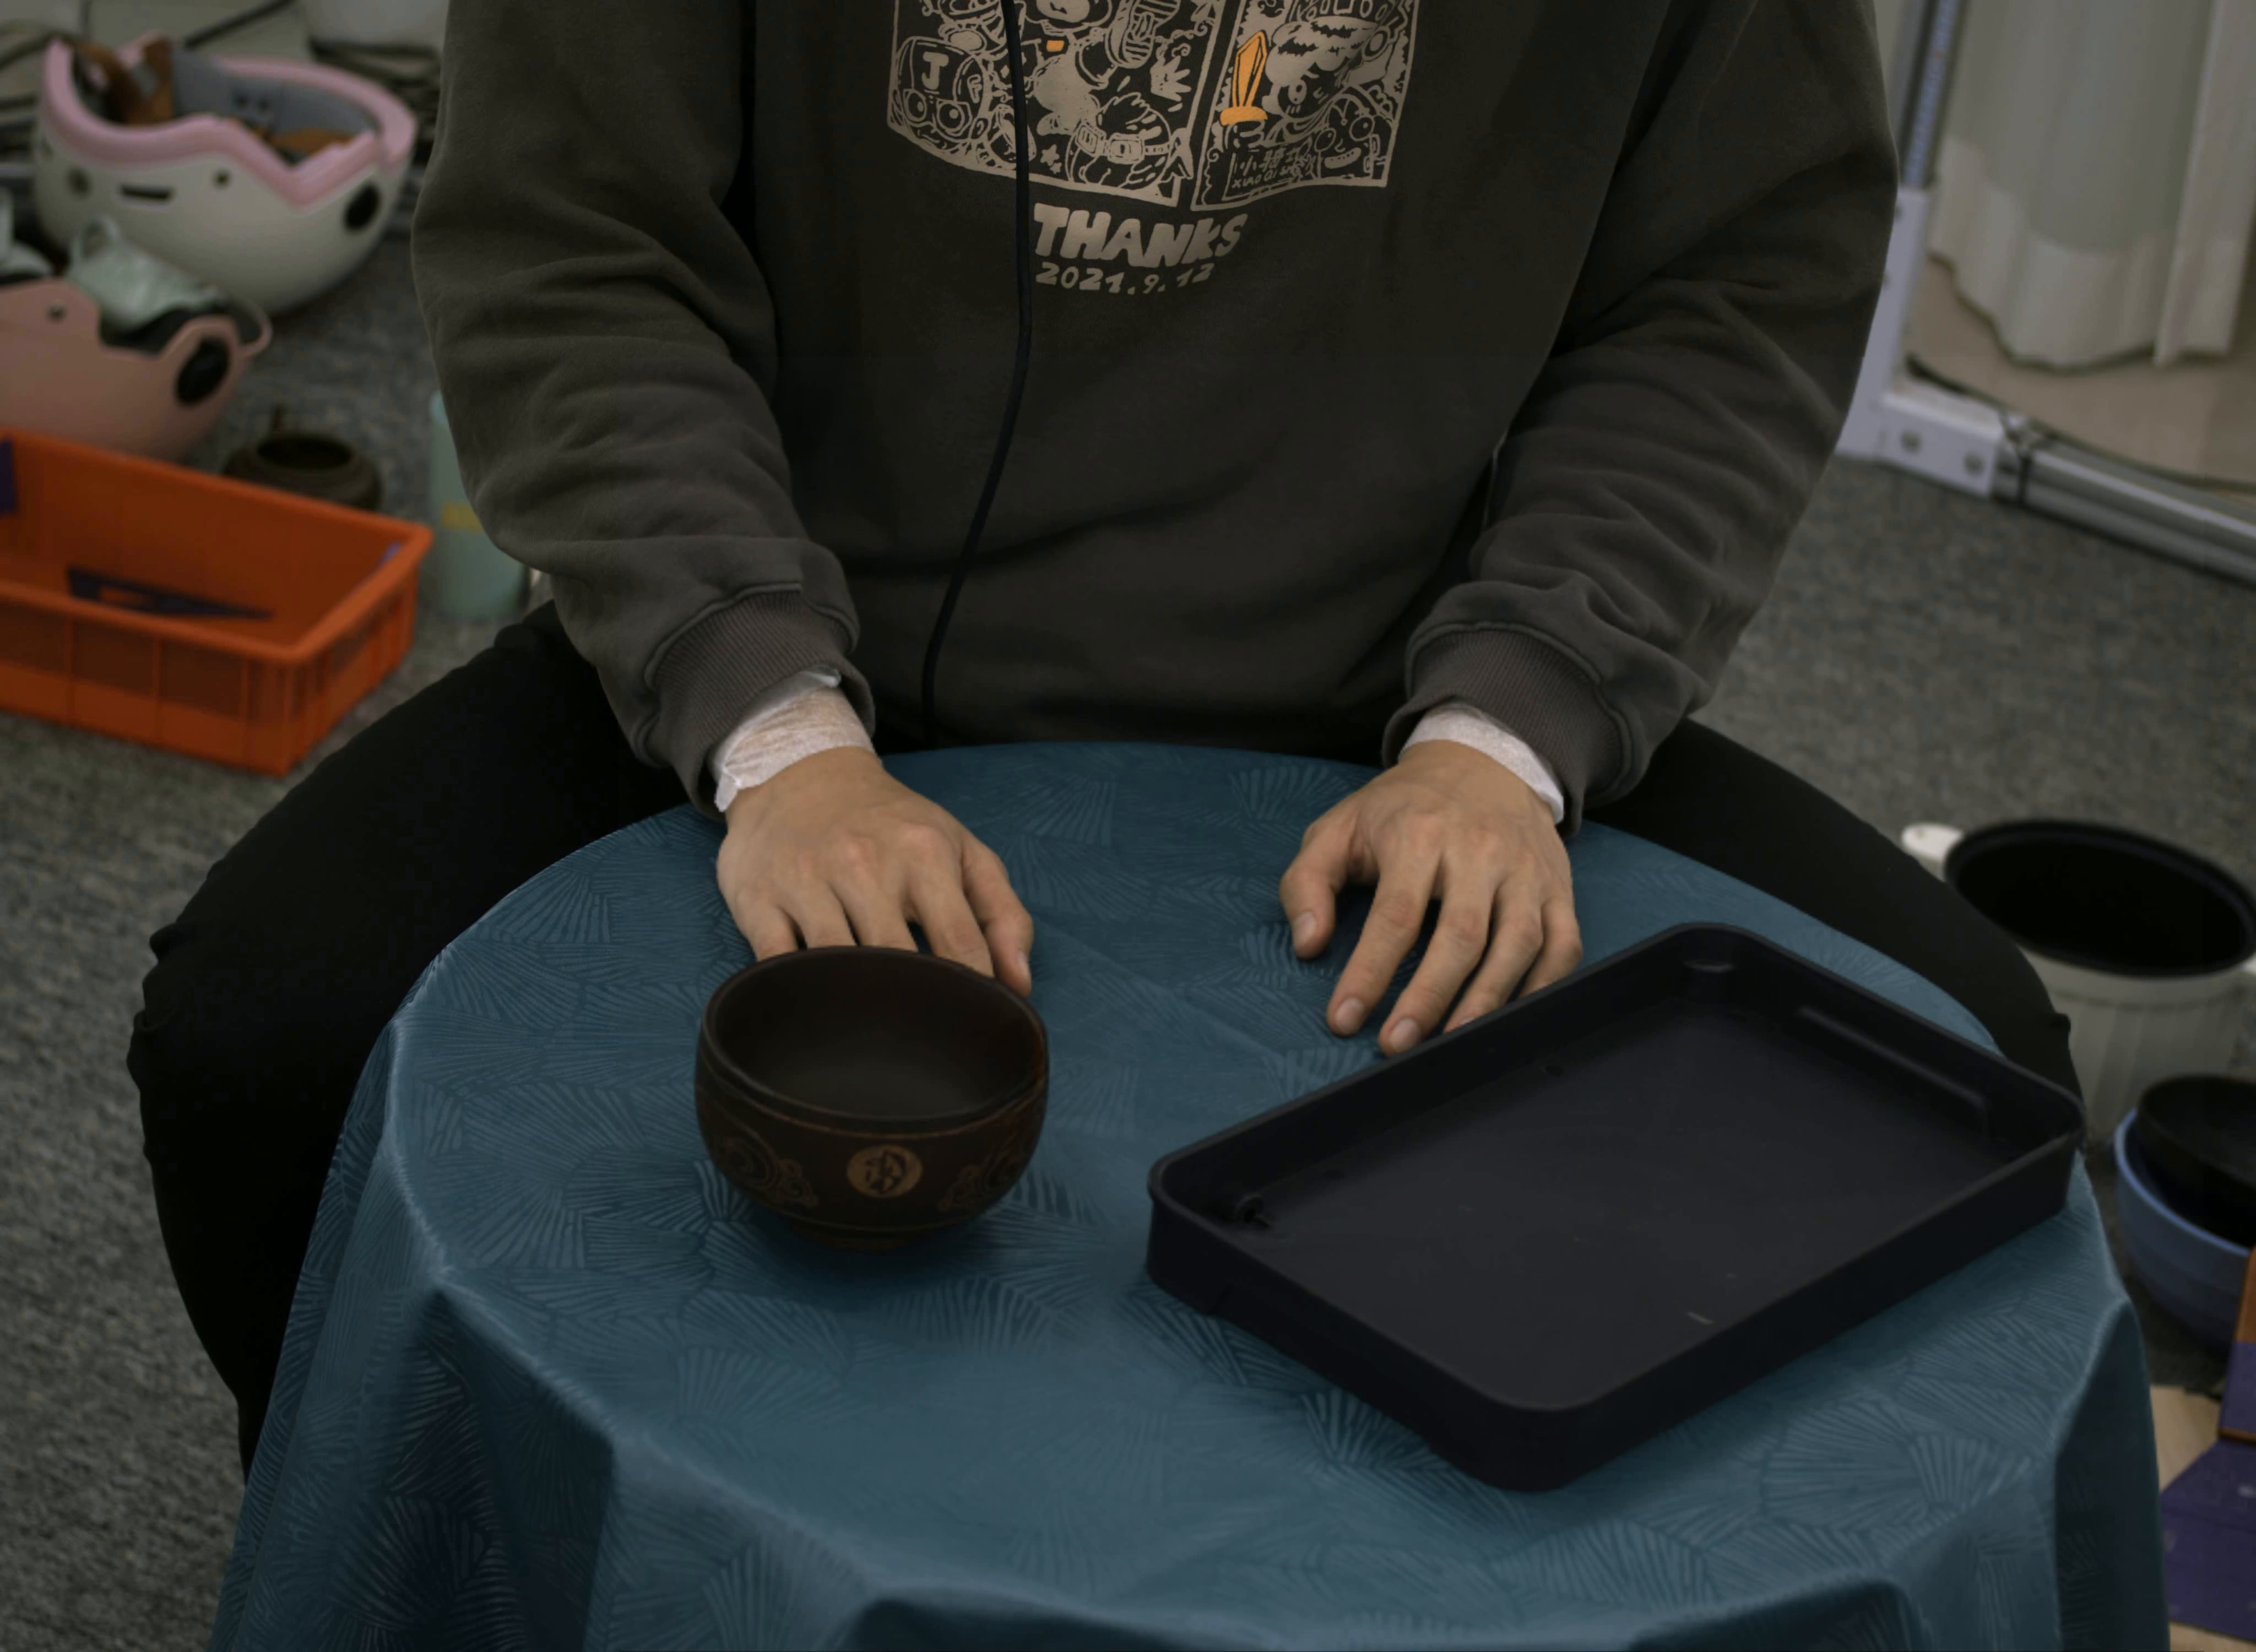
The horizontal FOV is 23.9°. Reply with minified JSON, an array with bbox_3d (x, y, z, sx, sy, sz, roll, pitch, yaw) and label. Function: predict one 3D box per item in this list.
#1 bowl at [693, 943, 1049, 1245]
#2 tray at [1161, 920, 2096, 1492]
[{"bbox_3d":[-0.086,0.095,1.761,0.117,0.069,0.119,5,25,-2],"label":"bowl"},{"bbox_3d":[0.173,0.122,1.807,0.185,0.037,0.316,26,33,35],"label":"tray"}]
